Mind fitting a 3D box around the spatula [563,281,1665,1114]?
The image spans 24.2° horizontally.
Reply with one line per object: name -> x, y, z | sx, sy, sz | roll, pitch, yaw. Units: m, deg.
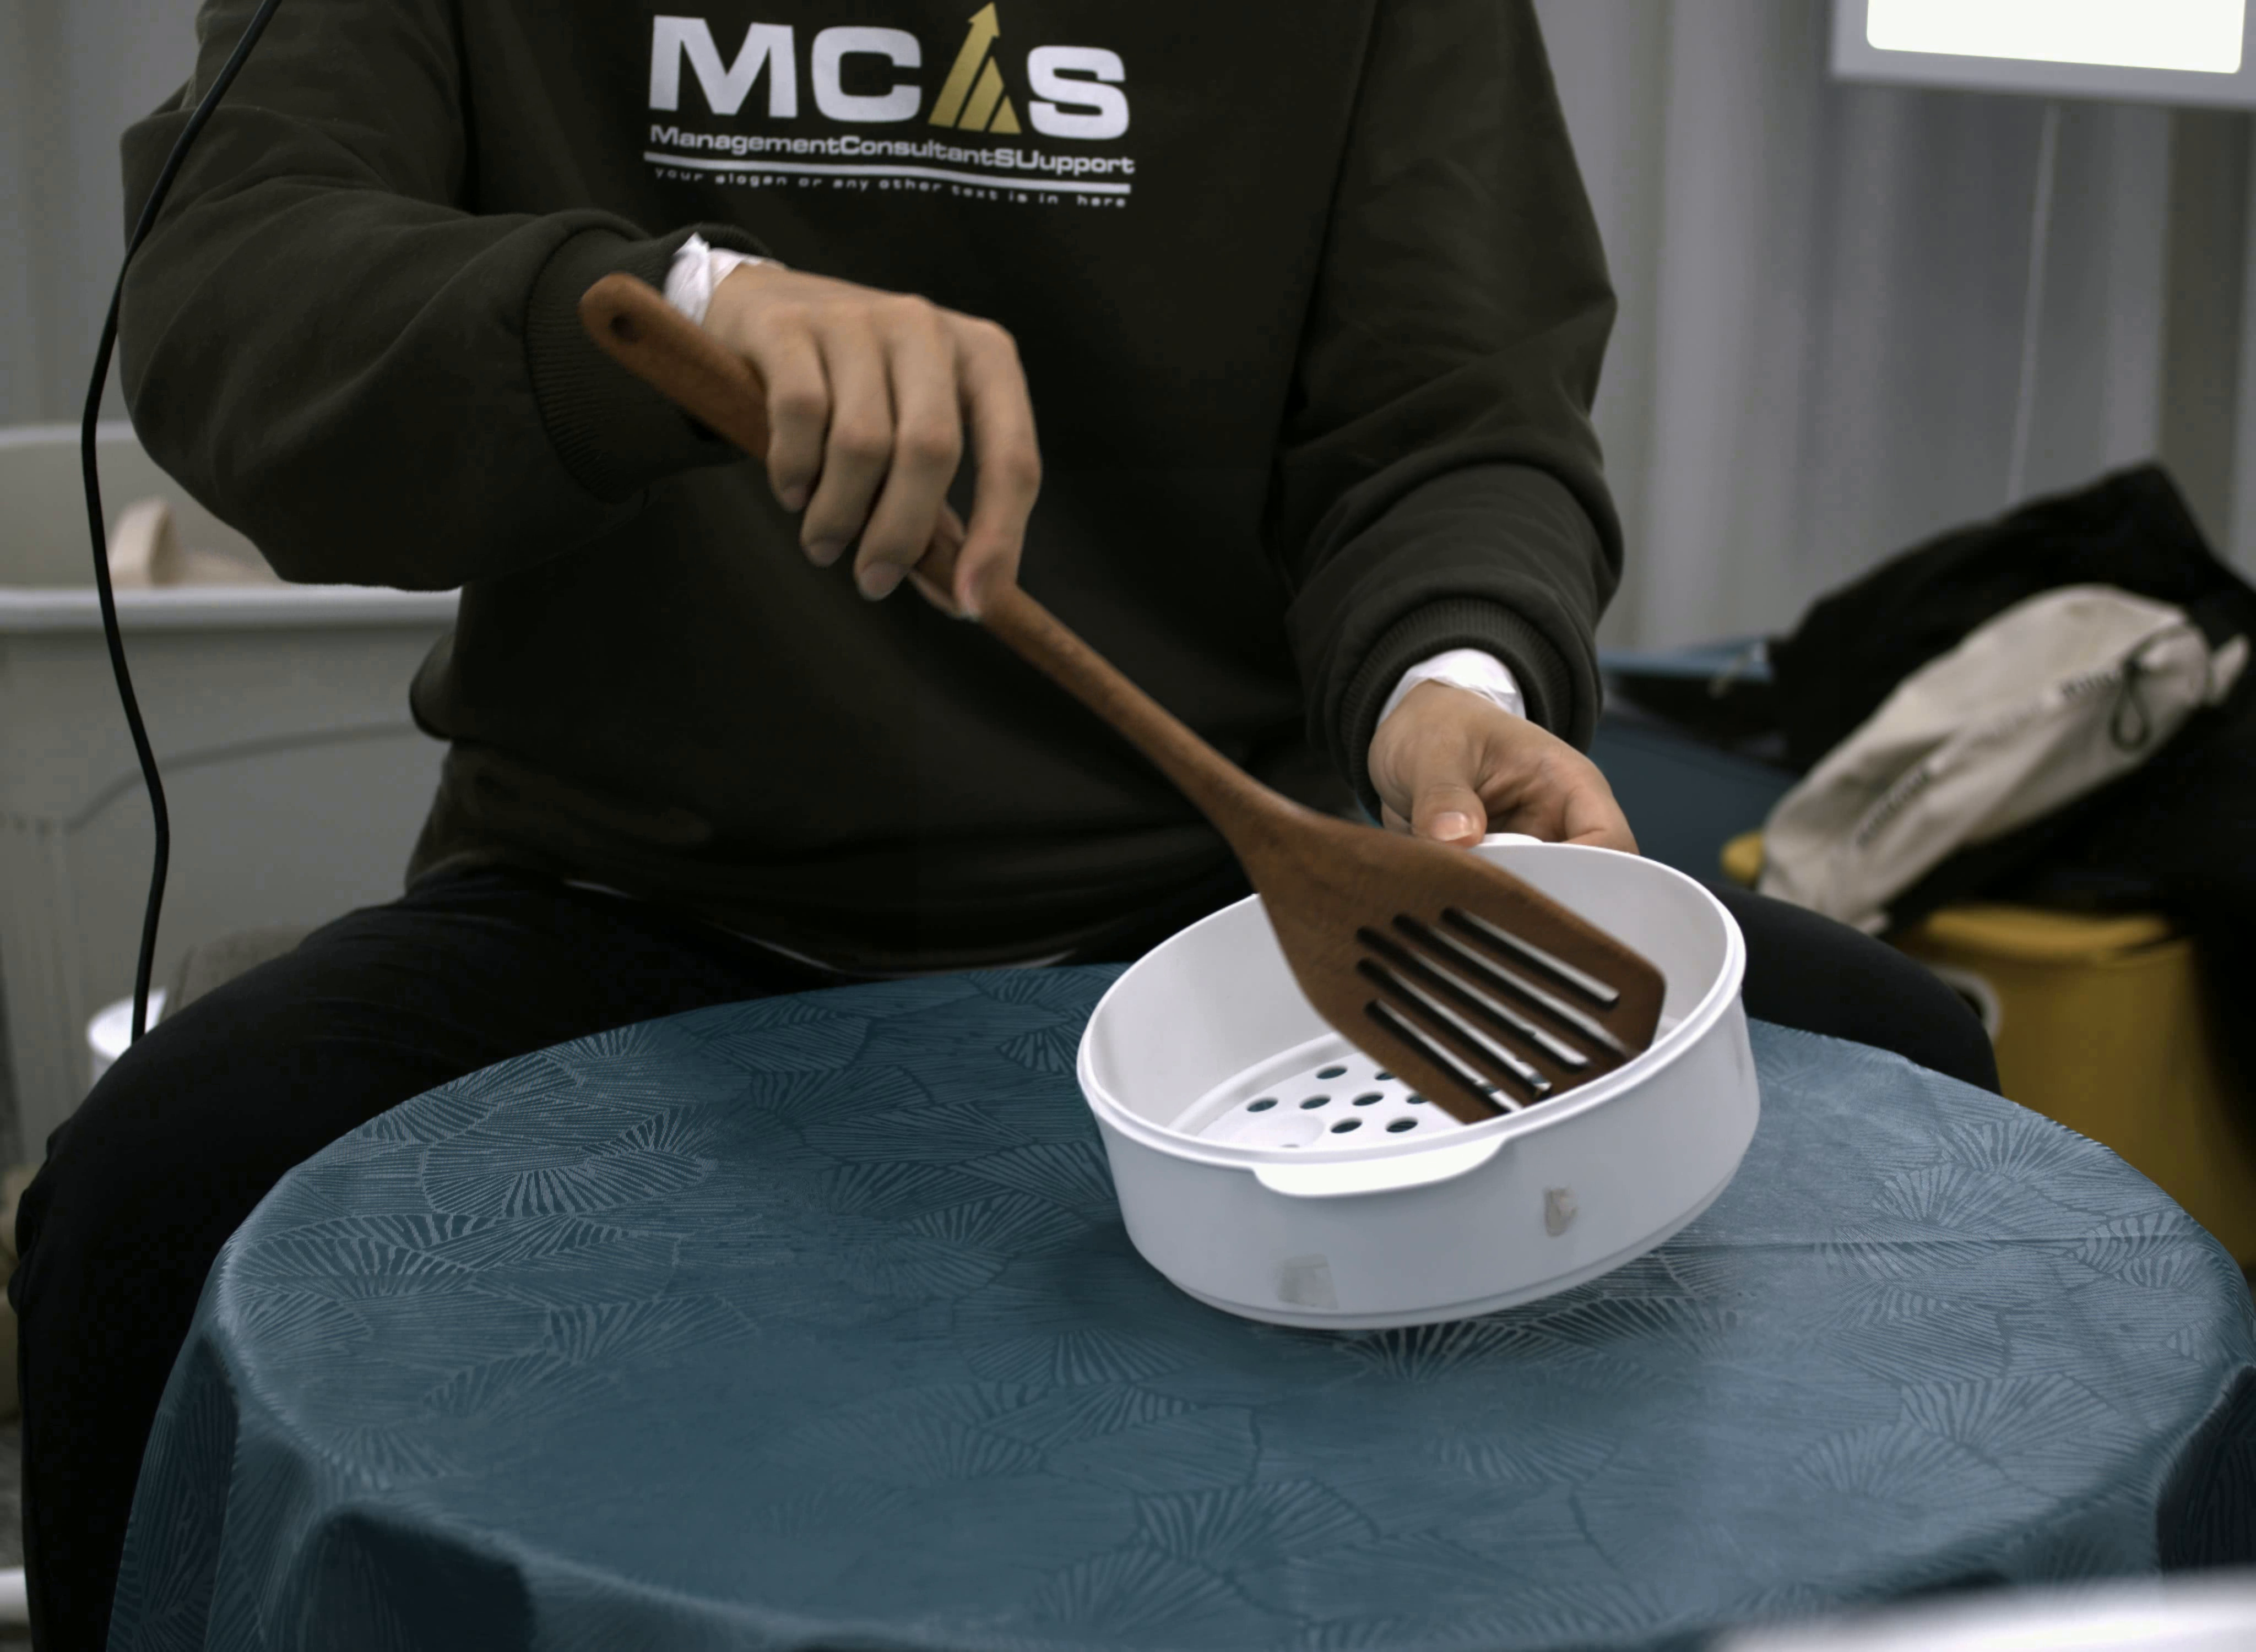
spatula -> -0.012, -0.039, 1.540 | 0.384, 0.086, 0.023 | 38, 36, 3

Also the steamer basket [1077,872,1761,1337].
steamer basket -> 0.089, 0.083, 1.559 | 0.200, 0.070, 0.229 | -6, 20, 11
